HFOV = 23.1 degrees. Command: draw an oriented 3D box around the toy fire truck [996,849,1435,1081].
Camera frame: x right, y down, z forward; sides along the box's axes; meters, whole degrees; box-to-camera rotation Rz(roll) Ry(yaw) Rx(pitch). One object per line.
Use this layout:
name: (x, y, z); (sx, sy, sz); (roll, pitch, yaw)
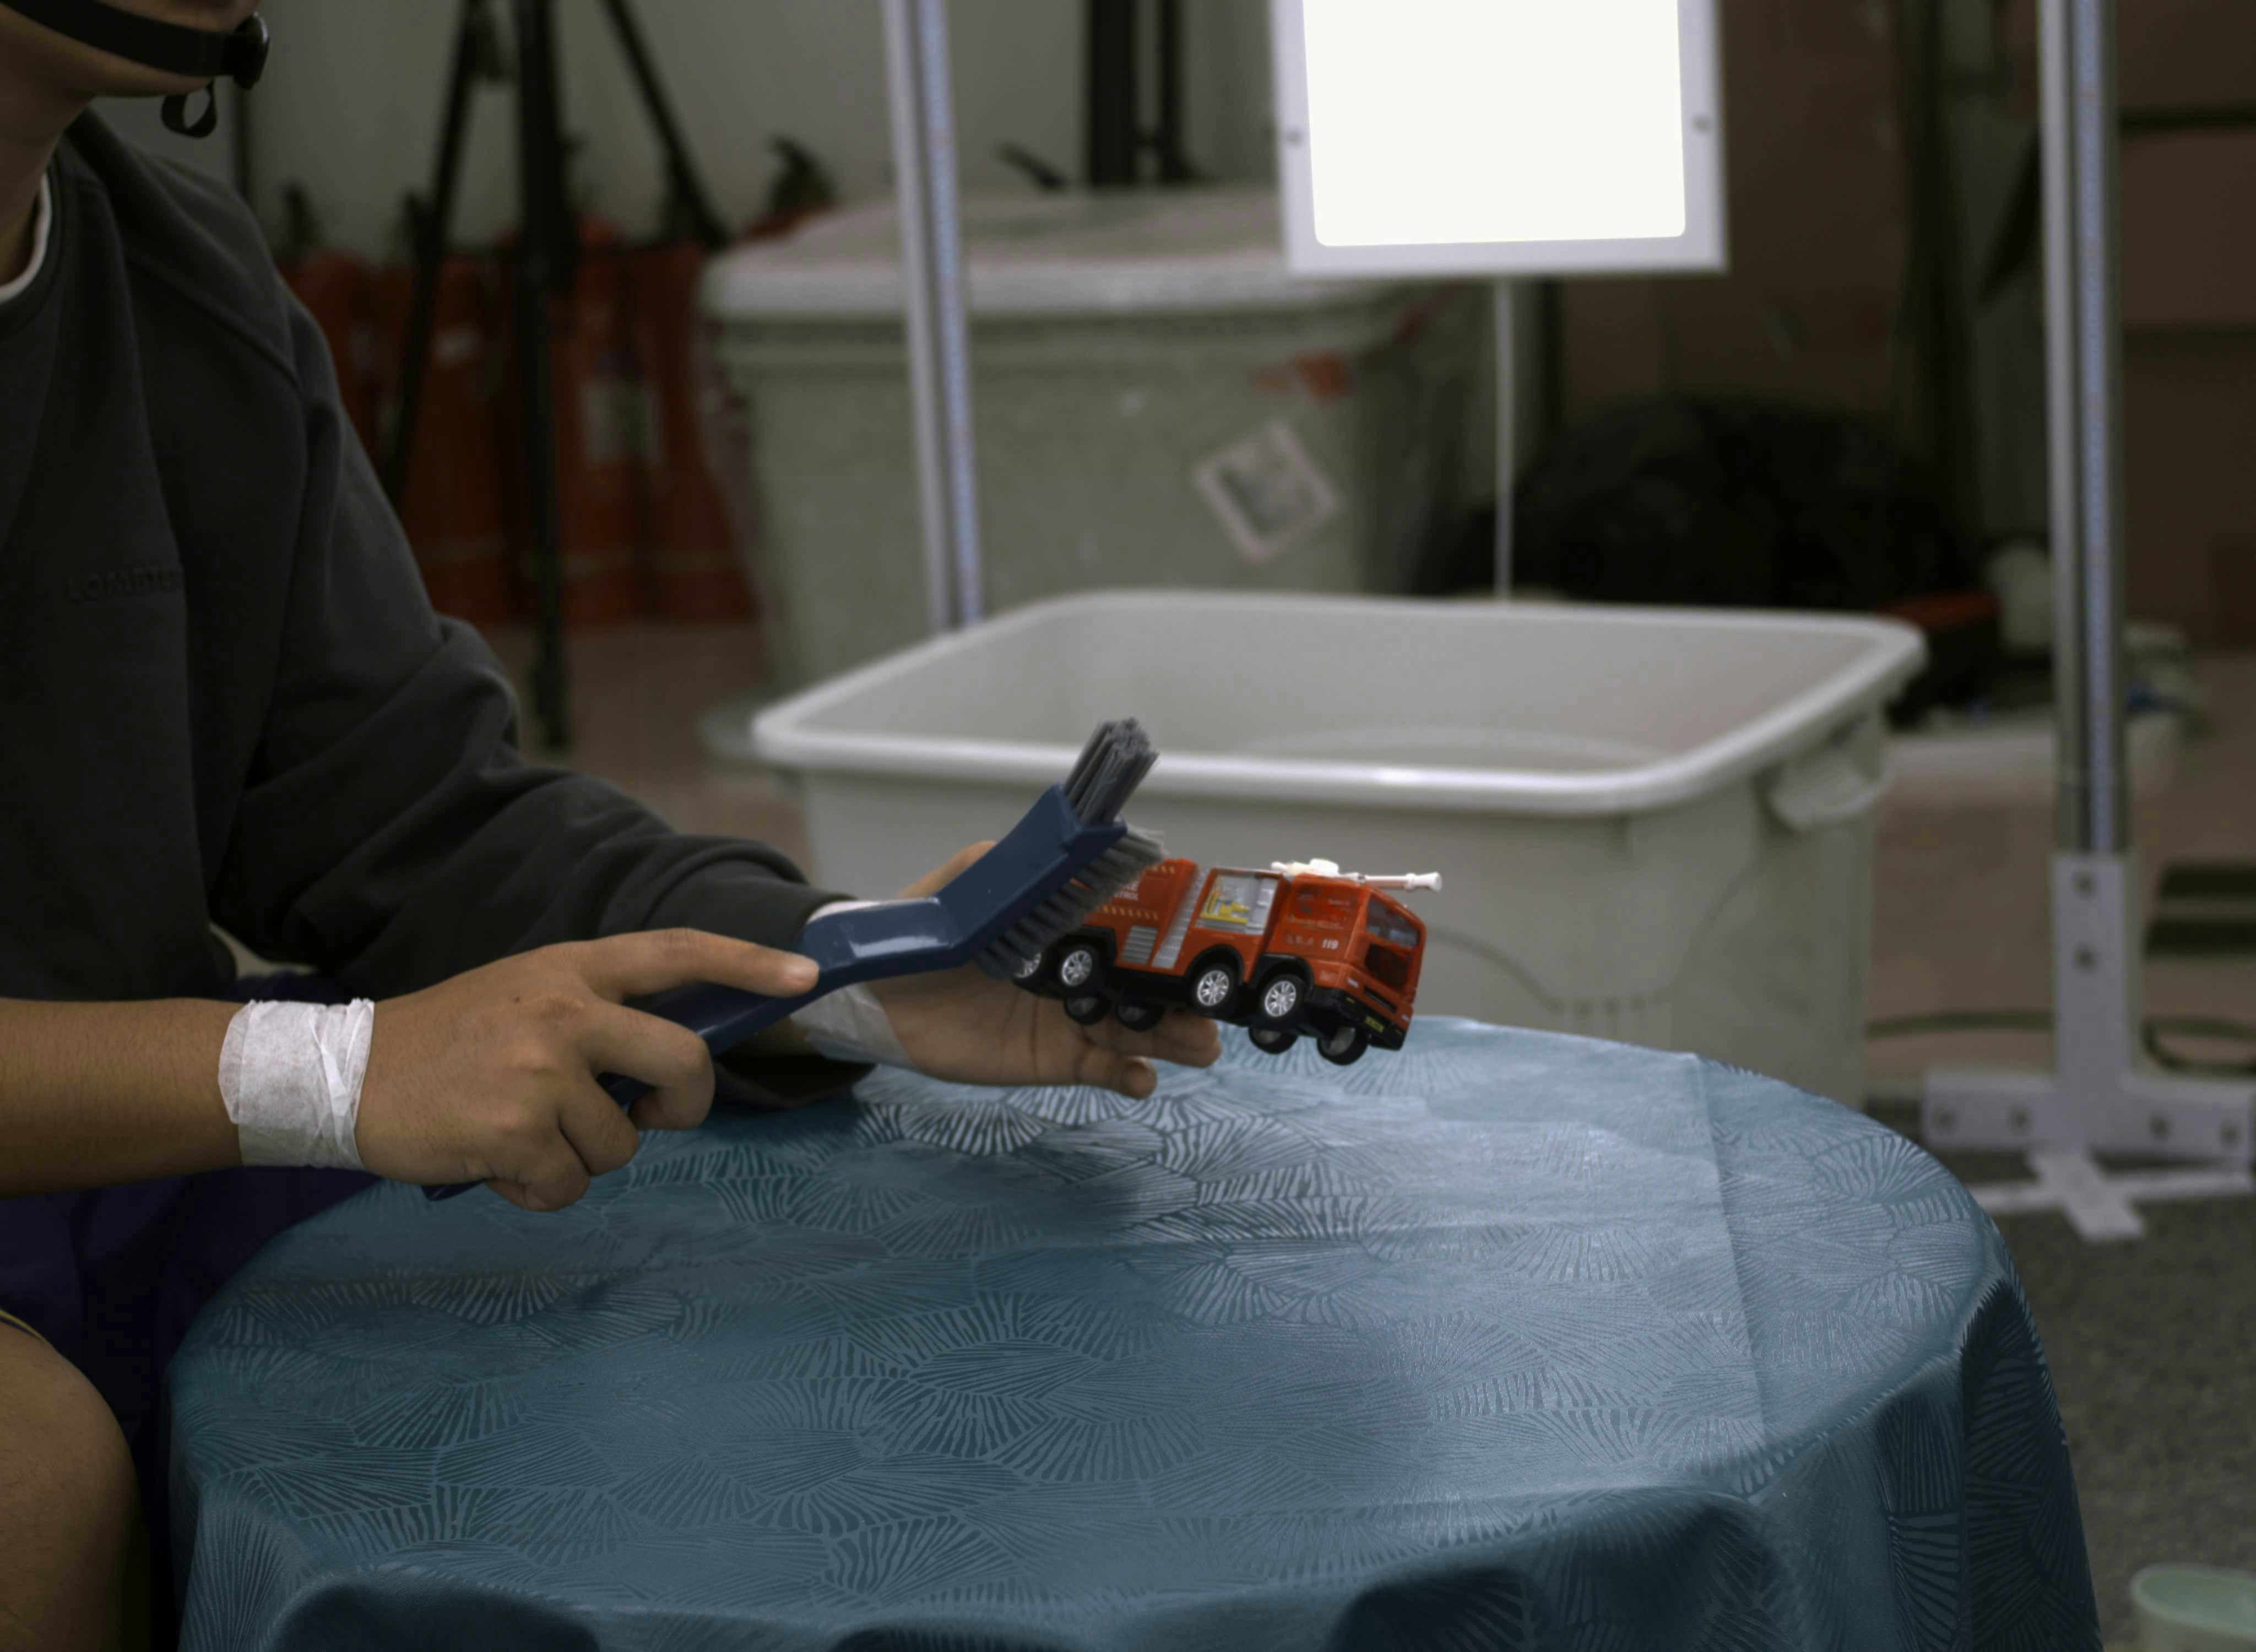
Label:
toy fire truck: (0.029, 0.041, 1.877); (0.171, 0.070, 0.053); (6, -18, 41)

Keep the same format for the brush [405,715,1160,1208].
brush: (-0.117, 0.046, 1.830); (0.272, 0.095, 0.034); (-23, 54, -4)
